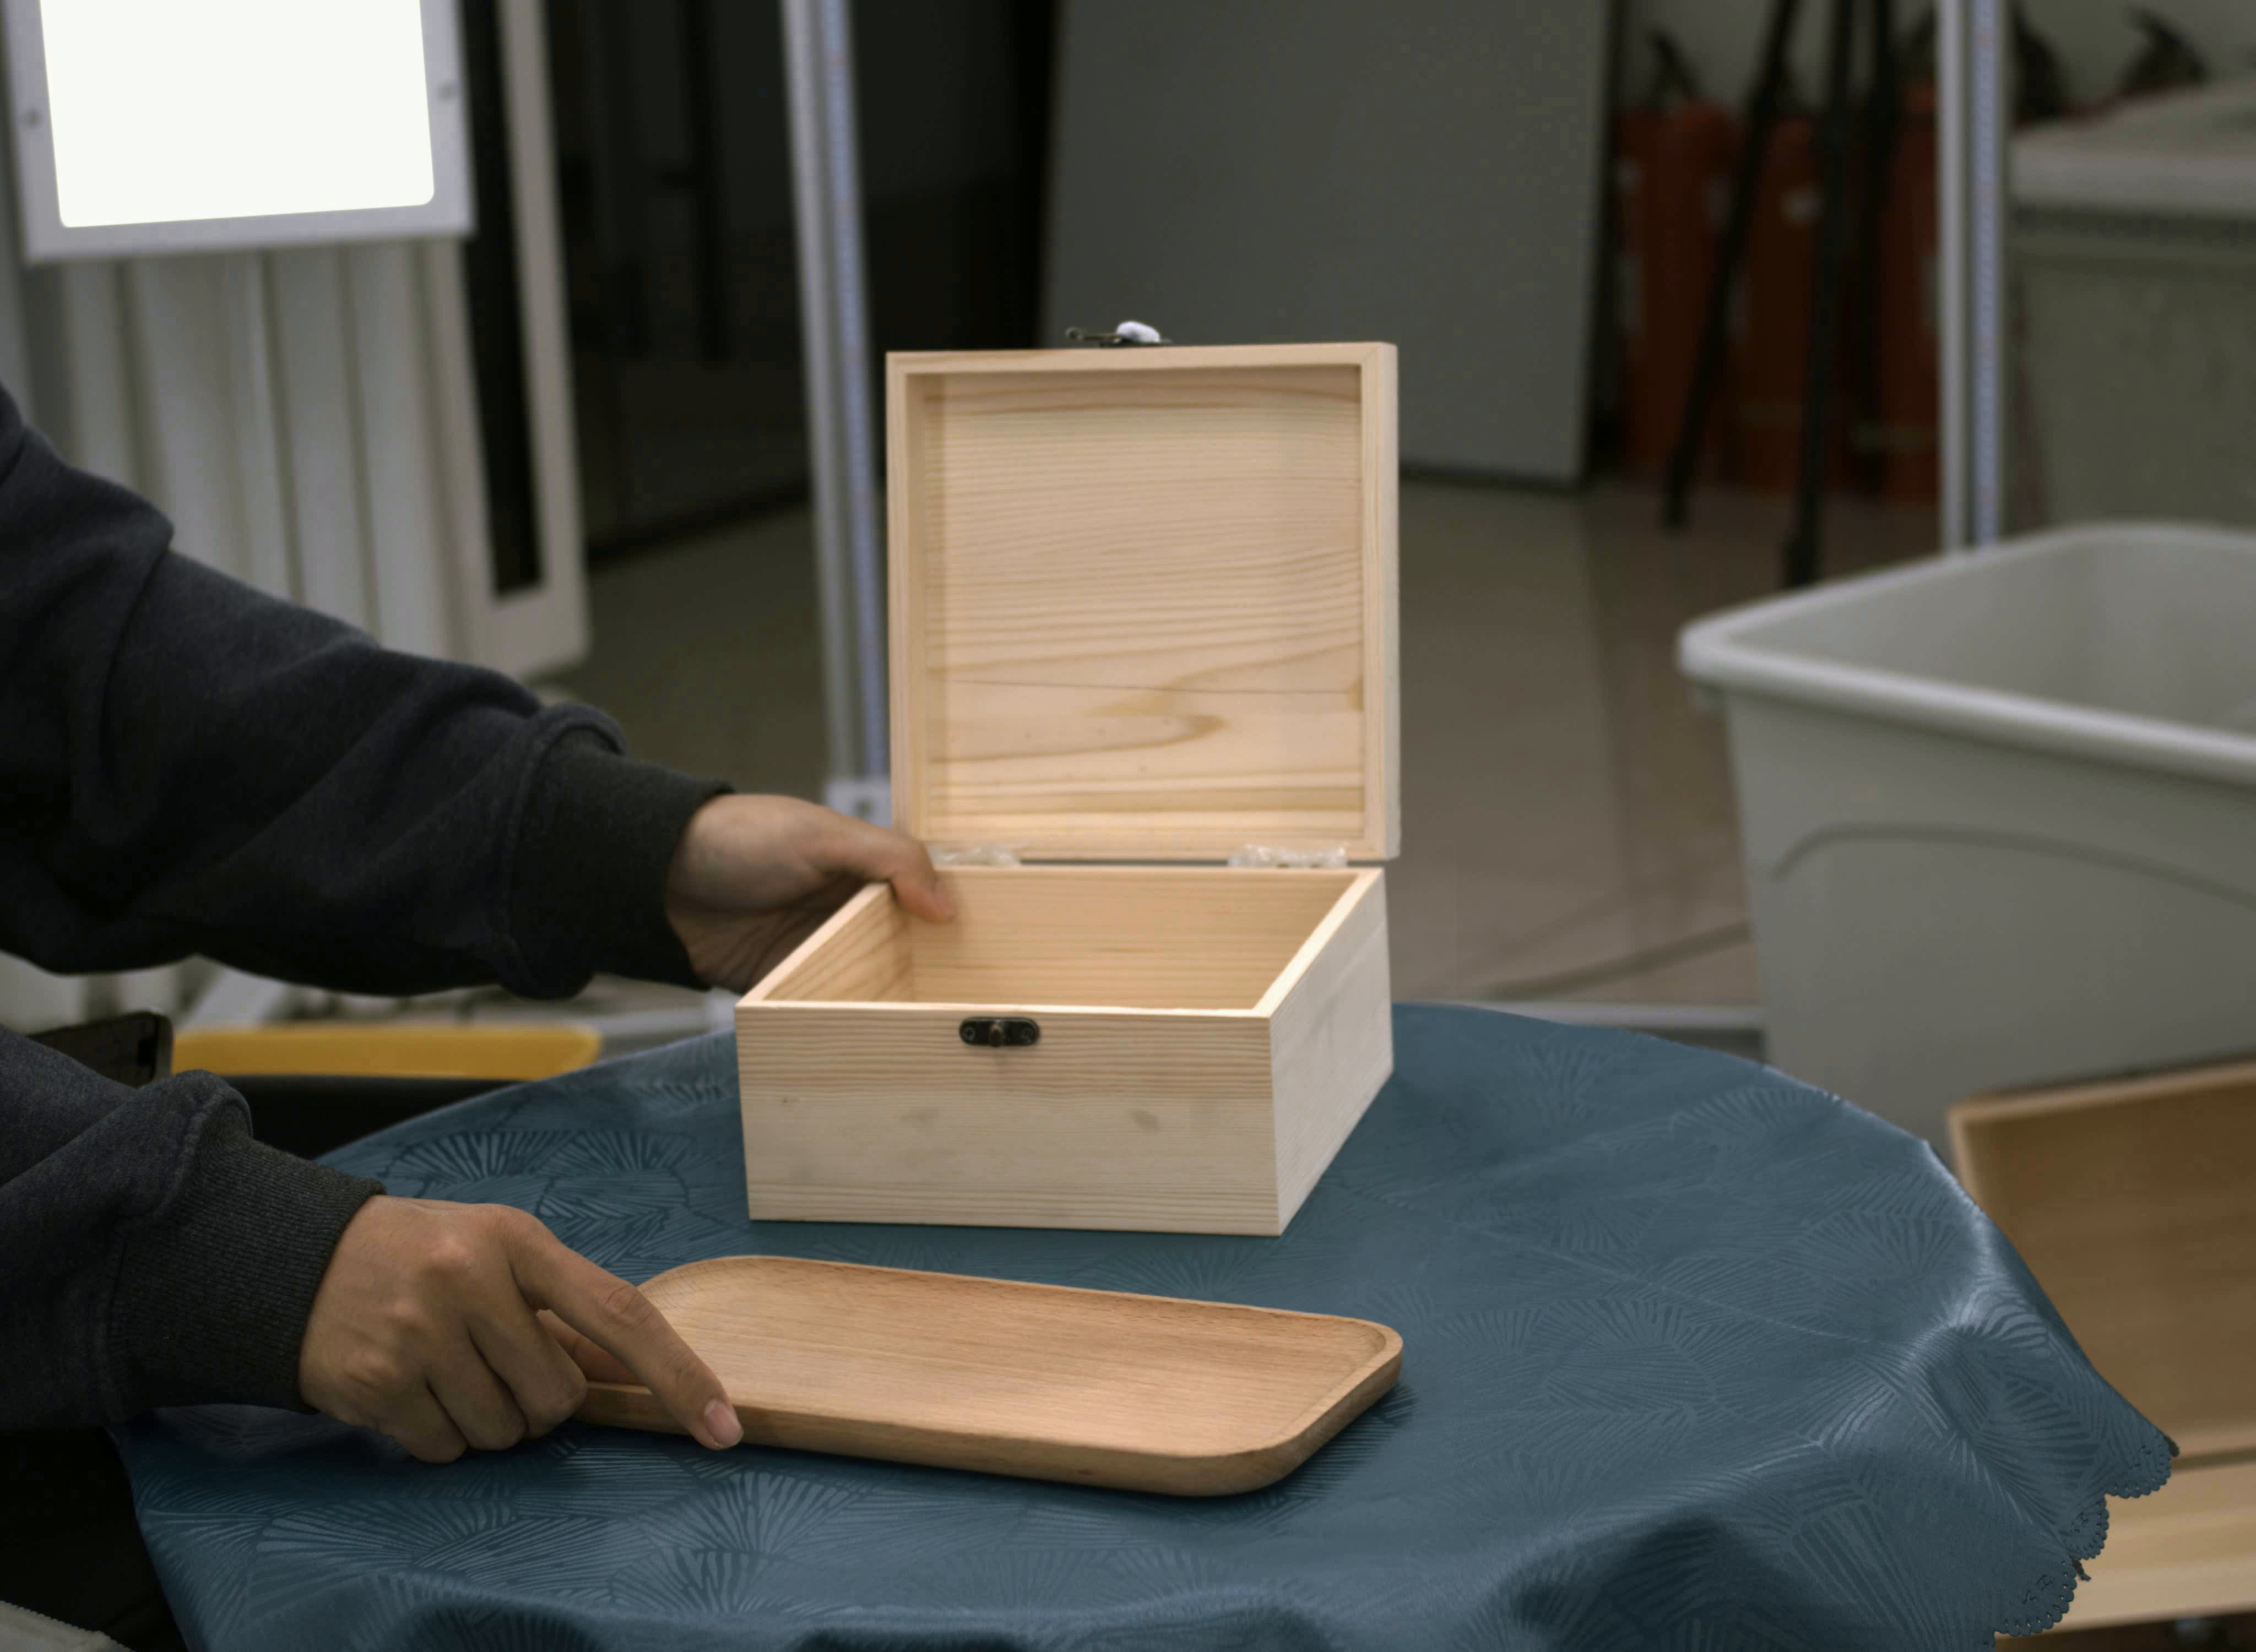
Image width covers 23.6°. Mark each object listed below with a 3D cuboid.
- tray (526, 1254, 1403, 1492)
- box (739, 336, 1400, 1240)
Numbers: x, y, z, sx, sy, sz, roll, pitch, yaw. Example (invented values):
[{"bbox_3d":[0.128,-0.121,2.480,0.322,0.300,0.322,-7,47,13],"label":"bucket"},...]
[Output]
[{"bbox_3d":[-0.048,0.159,1.583,0.251,0.023,0.128,3,11,27],"label":"tray"},{"bbox_3d":[-0.016,-0.019,1.826,0.181,0.256,0.263,-3,12,15],"label":"box"}]
